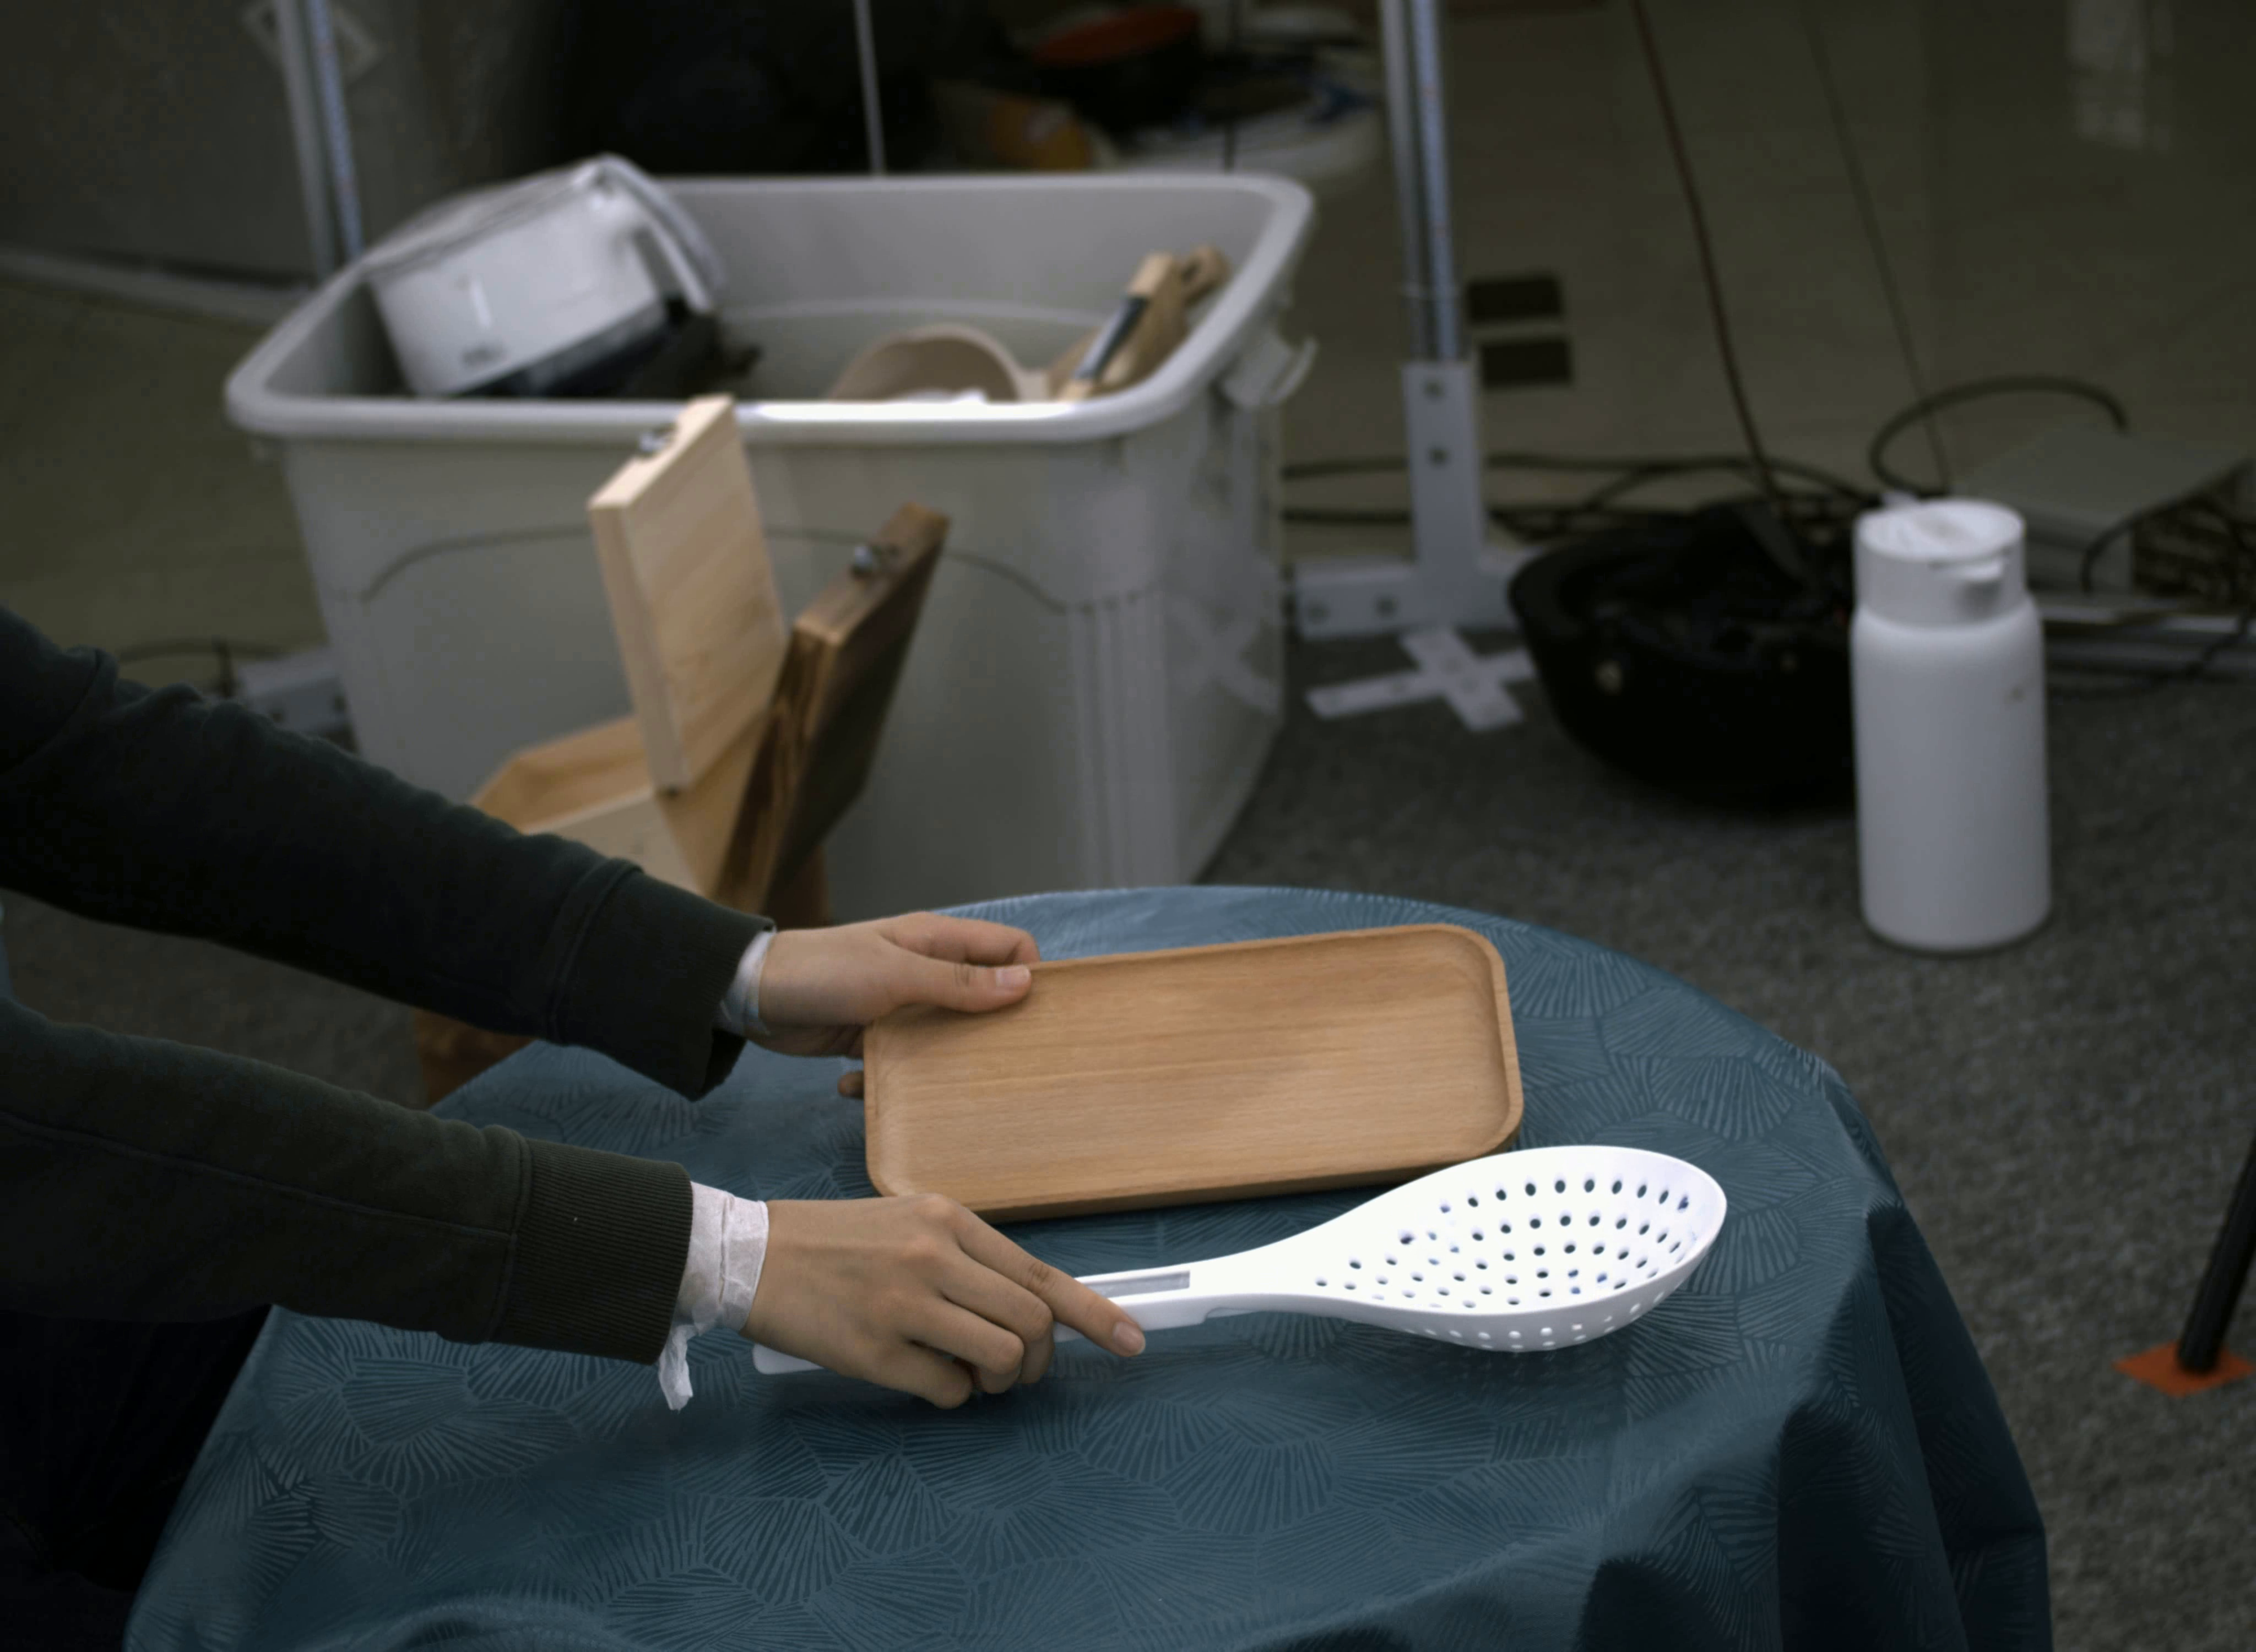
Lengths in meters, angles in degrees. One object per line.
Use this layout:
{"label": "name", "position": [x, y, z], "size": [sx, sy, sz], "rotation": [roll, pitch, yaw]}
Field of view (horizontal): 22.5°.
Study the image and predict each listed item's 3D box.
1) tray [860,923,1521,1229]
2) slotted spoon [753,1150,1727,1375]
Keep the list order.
{"label": "tray", "position": [0.023, 0.096, 2.173], "size": [0.250, 0.023, 0.128], "rotation": [-6, 43, 2]}
{"label": "slotted spoon", "position": [0.039, 0.164, 2.024], "size": [0.349, 0.046, 0.134], "rotation": [-3, 20, 3]}
